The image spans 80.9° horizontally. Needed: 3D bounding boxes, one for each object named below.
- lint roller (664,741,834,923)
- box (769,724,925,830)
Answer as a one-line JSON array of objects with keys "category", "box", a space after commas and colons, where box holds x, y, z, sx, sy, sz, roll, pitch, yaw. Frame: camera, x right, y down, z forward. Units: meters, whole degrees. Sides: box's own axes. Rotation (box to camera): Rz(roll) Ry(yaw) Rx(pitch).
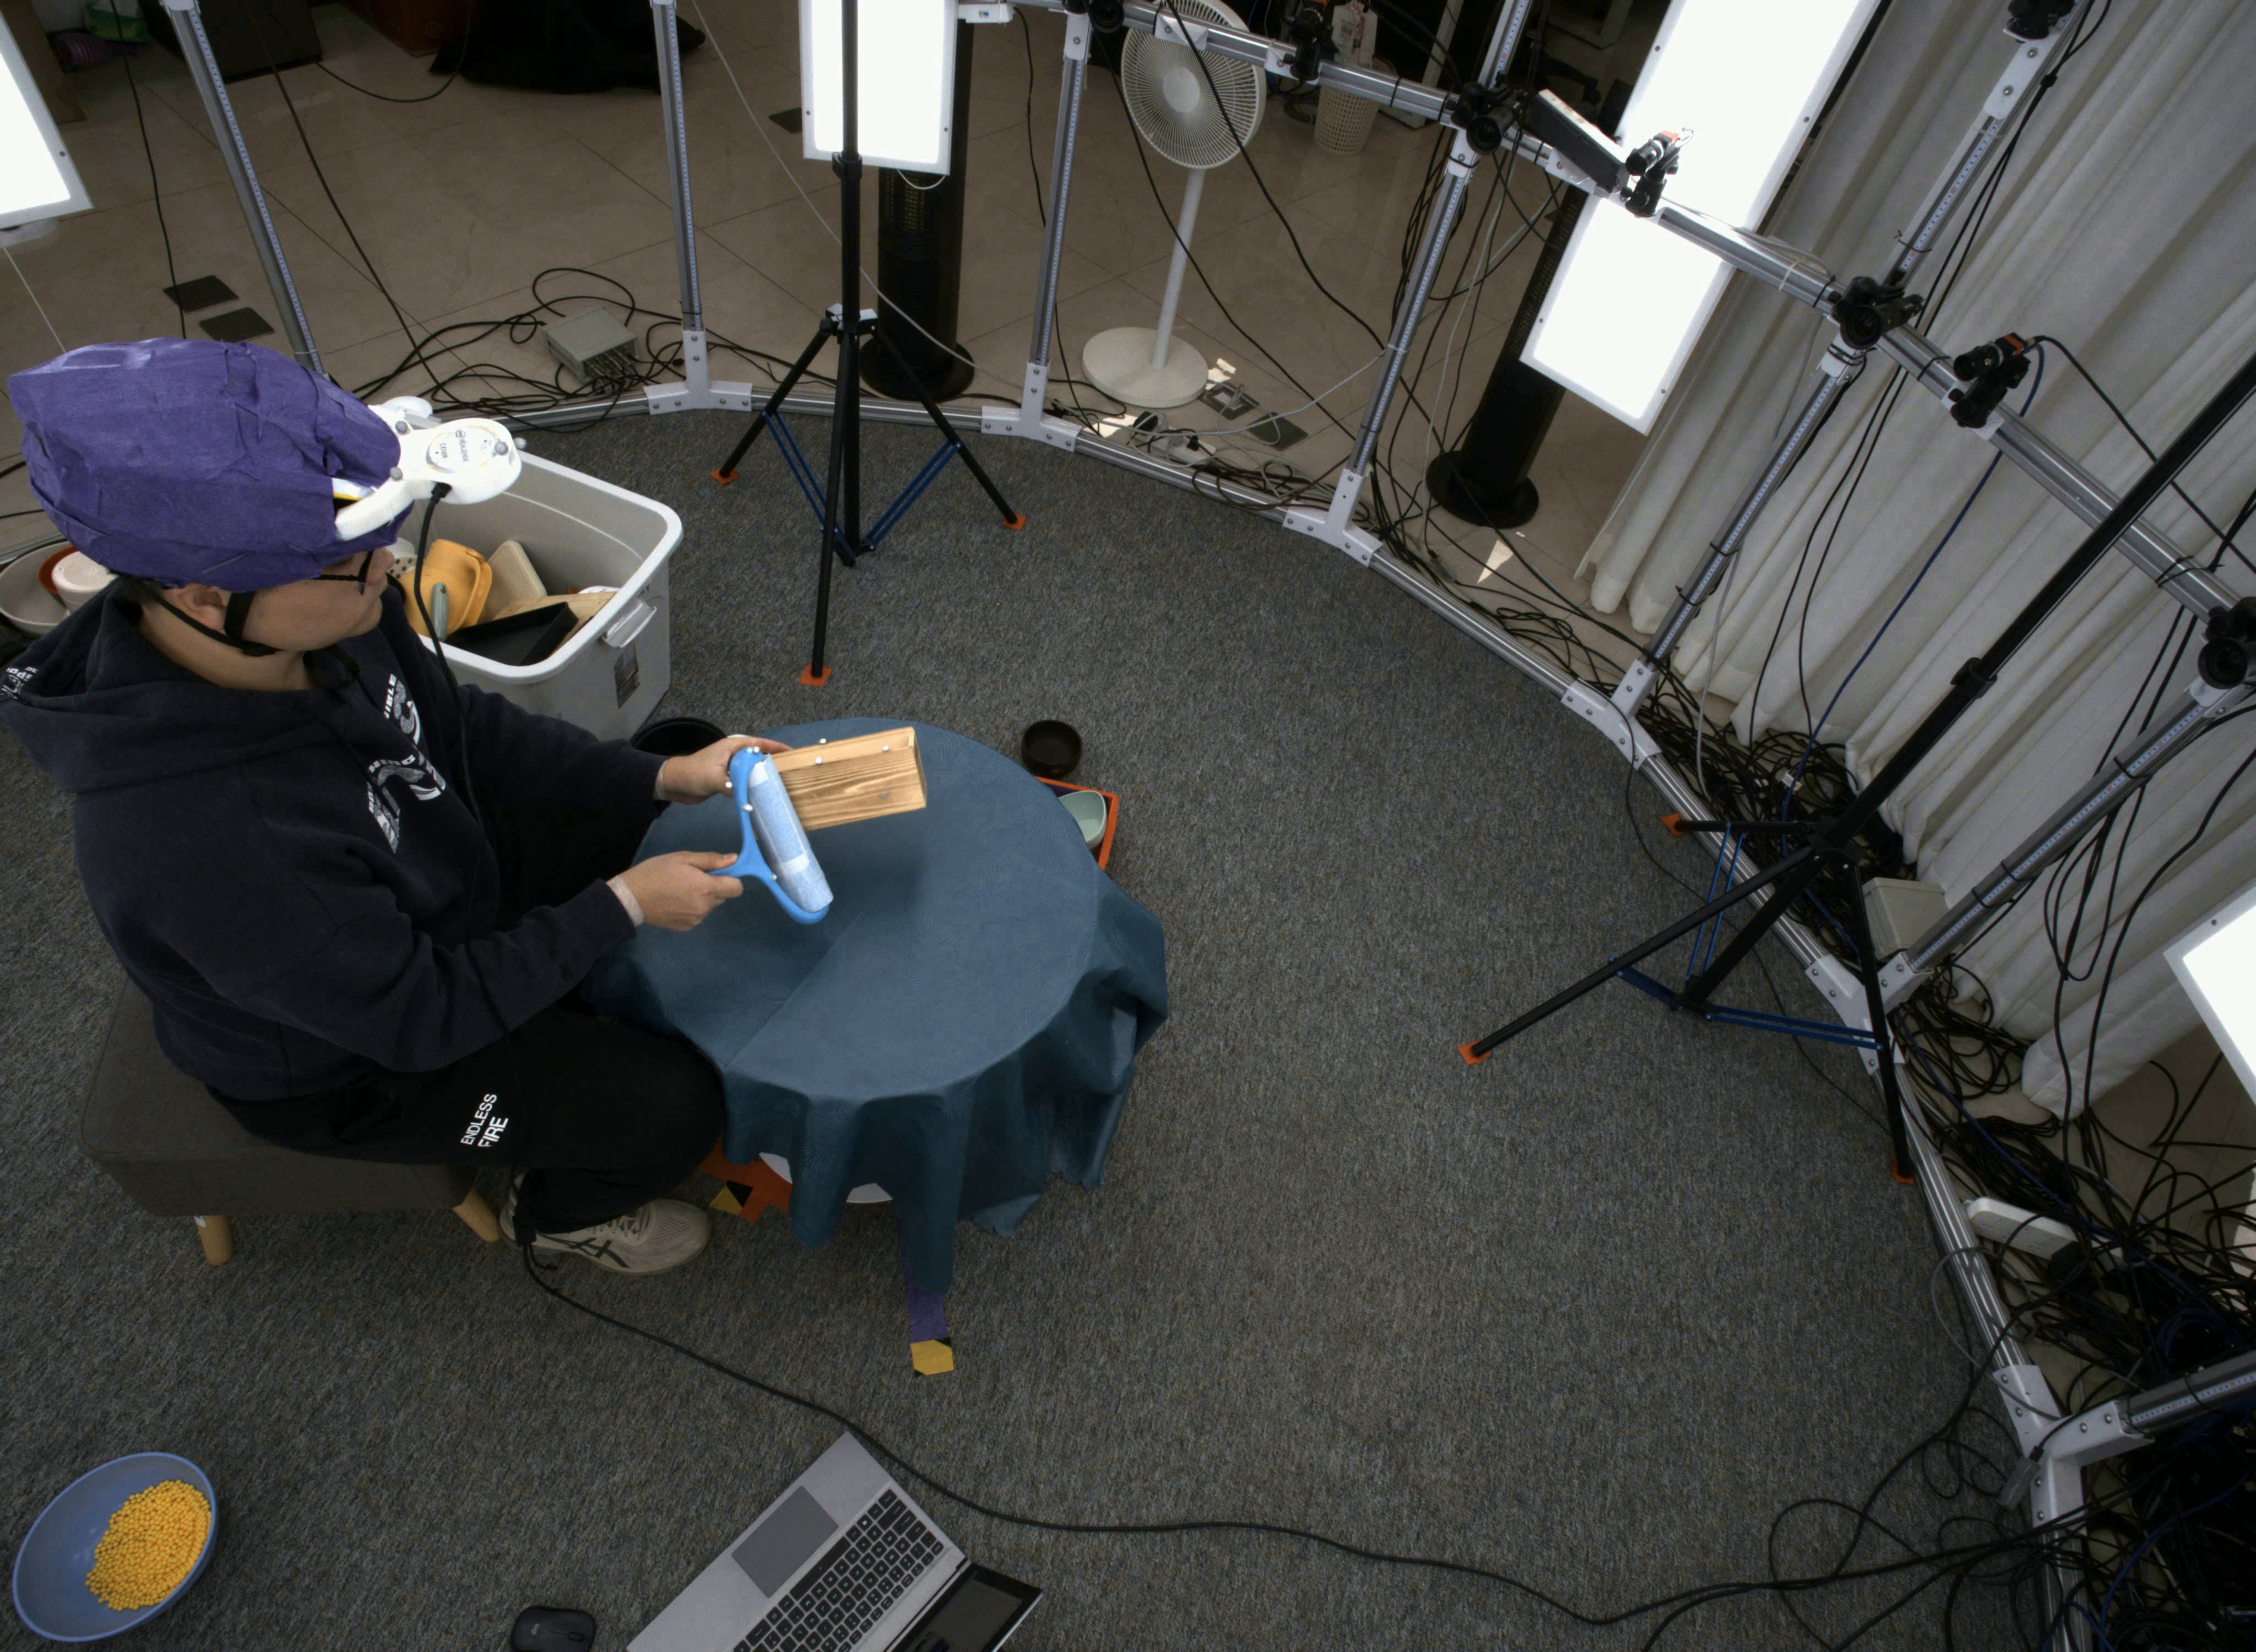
[{"category": "lint roller", "box": [-0.449, 0.036, 1.501, 0.065, 0.237, 0.180, 8, 36, 45]}, {"category": "box", "box": [-0.363, -0.058, 1.606, 0.210, 0.082, 0.105, -12, 19, -7]}]
